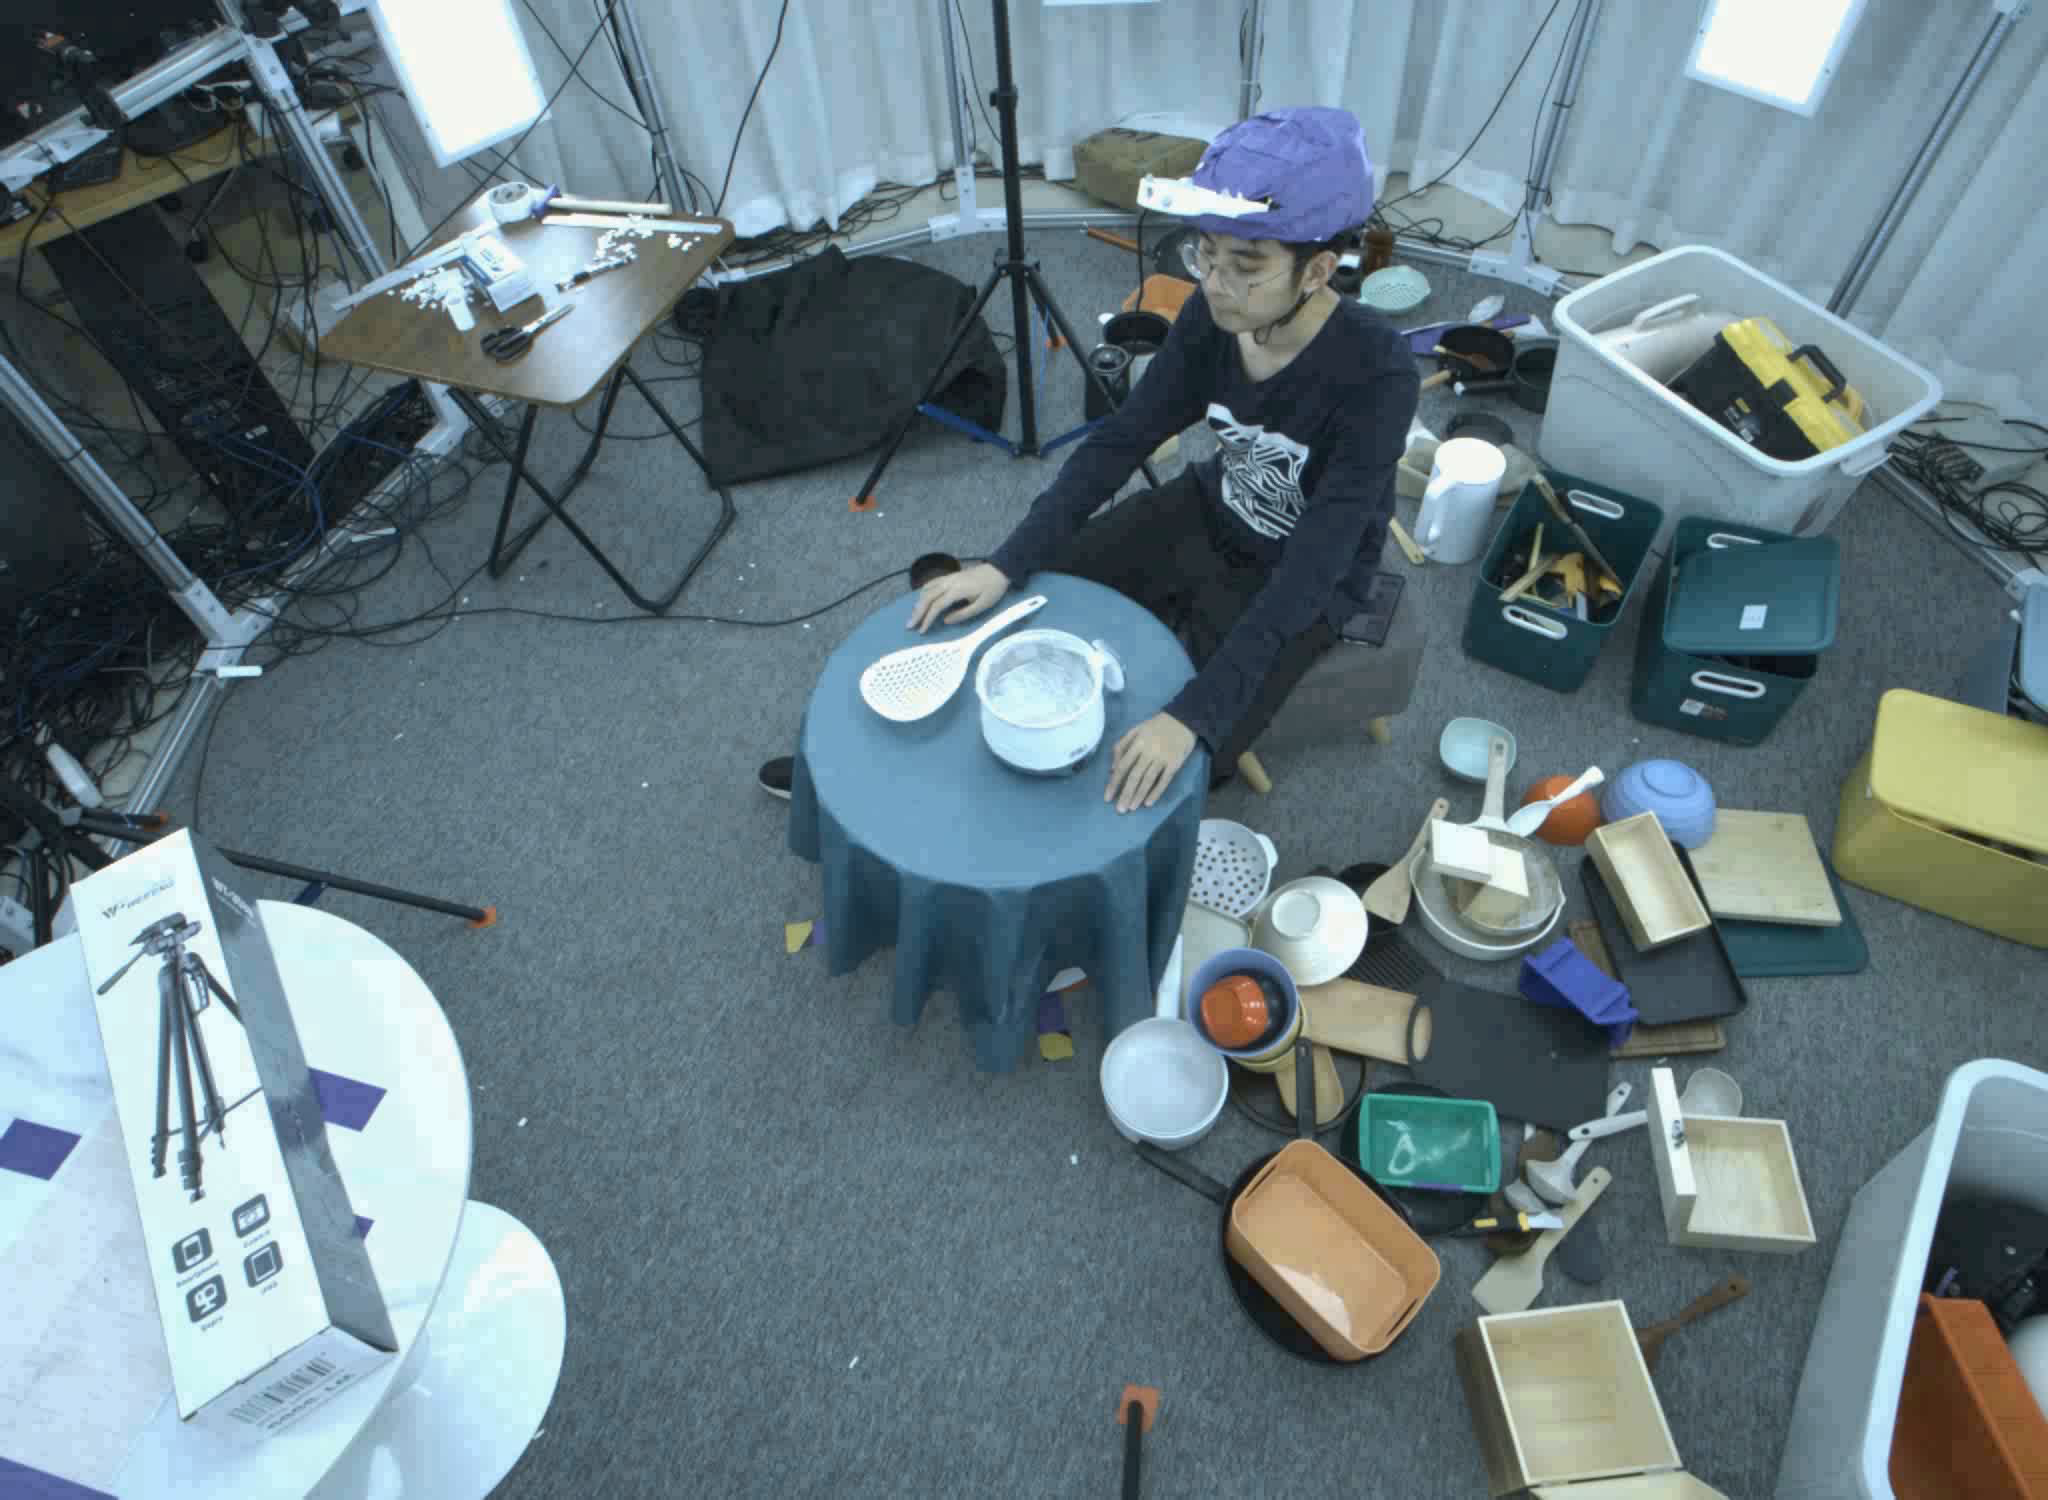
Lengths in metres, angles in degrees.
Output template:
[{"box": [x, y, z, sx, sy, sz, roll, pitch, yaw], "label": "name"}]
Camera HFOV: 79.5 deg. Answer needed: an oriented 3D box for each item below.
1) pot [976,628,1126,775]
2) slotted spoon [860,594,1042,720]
[{"box": [0.047, -0.079, 1.764, 0.235, 0.138, 0.175, -33, 62, -19], "label": "pot"}, {"box": [-0.095, -0.153, 1.880, 0.350, 0.051, 0.134, -40, 61, -23], "label": "slotted spoon"}]
